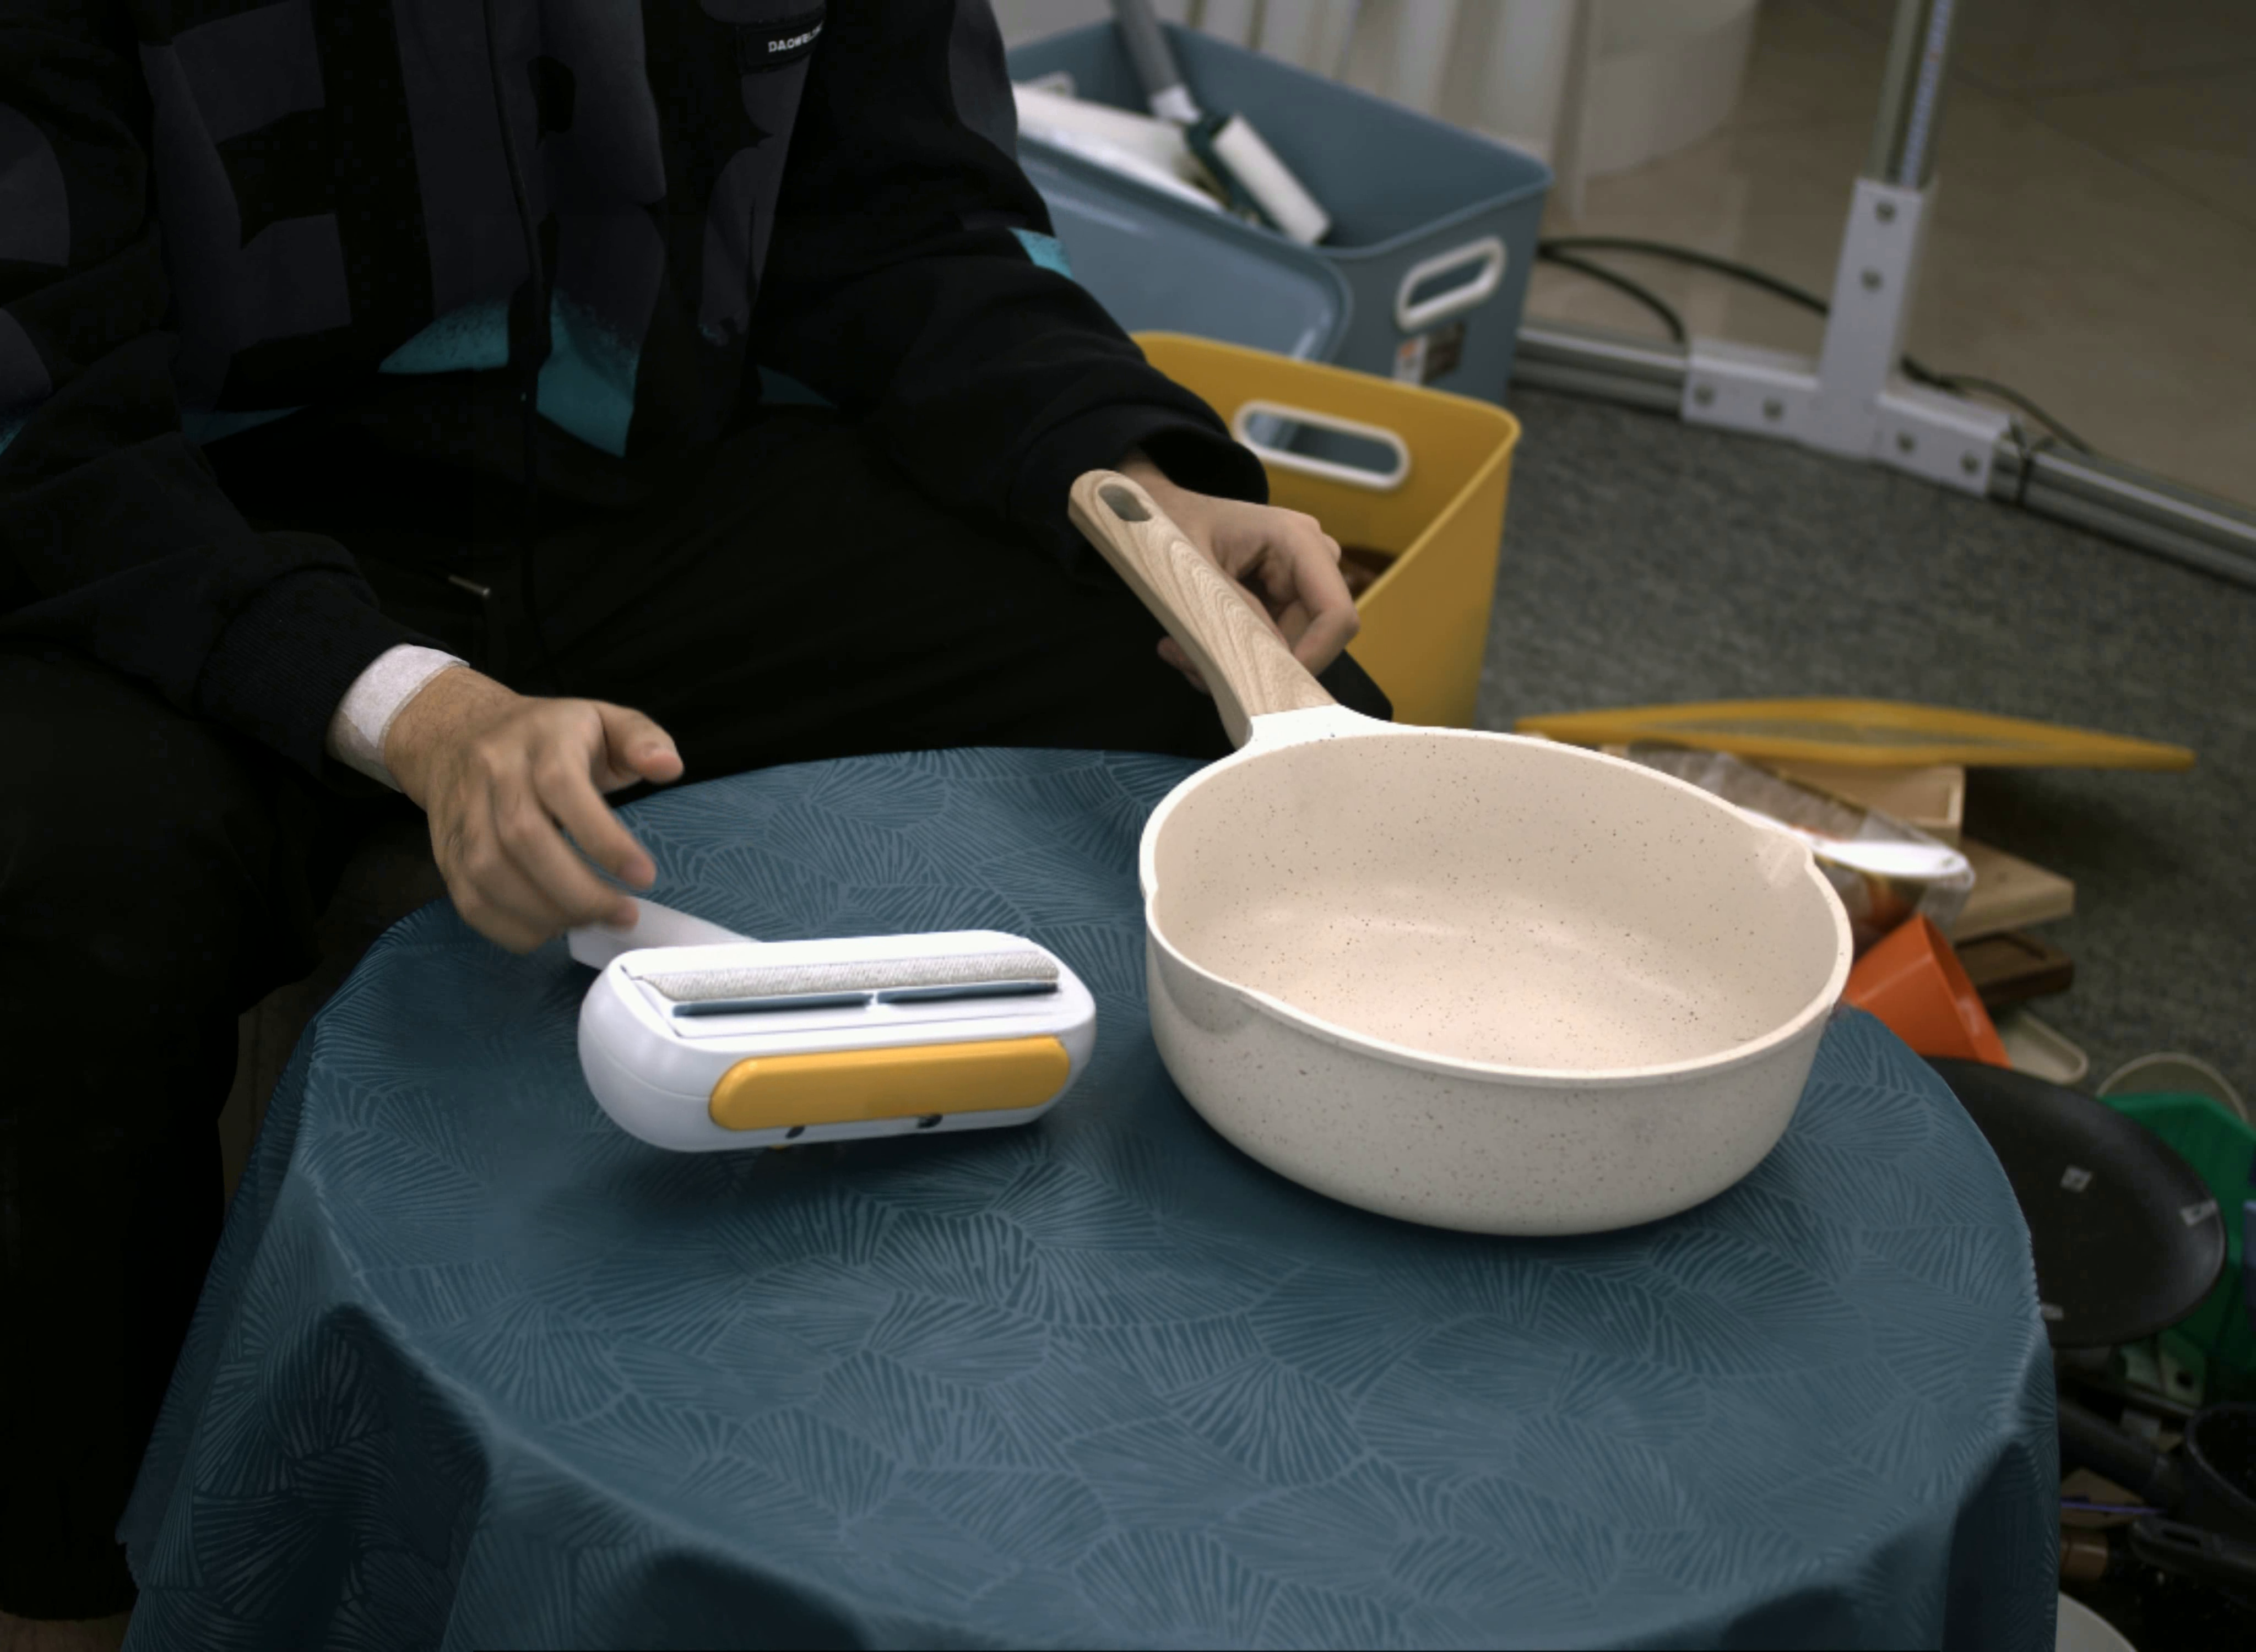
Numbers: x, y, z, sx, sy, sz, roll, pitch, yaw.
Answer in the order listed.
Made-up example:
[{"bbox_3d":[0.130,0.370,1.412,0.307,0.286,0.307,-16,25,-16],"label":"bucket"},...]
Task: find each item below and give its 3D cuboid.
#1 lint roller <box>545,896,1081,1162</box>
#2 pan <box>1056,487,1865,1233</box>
[{"bbox_3d":[-0.135,0.055,1.830,0.191,0.074,0.194,-5,26,-33],"label":"lint roller"},{"bbox_3d":[0.085,0.009,1.933,0.262,0.101,0.439,-11,32,-26],"label":"pan"}]
